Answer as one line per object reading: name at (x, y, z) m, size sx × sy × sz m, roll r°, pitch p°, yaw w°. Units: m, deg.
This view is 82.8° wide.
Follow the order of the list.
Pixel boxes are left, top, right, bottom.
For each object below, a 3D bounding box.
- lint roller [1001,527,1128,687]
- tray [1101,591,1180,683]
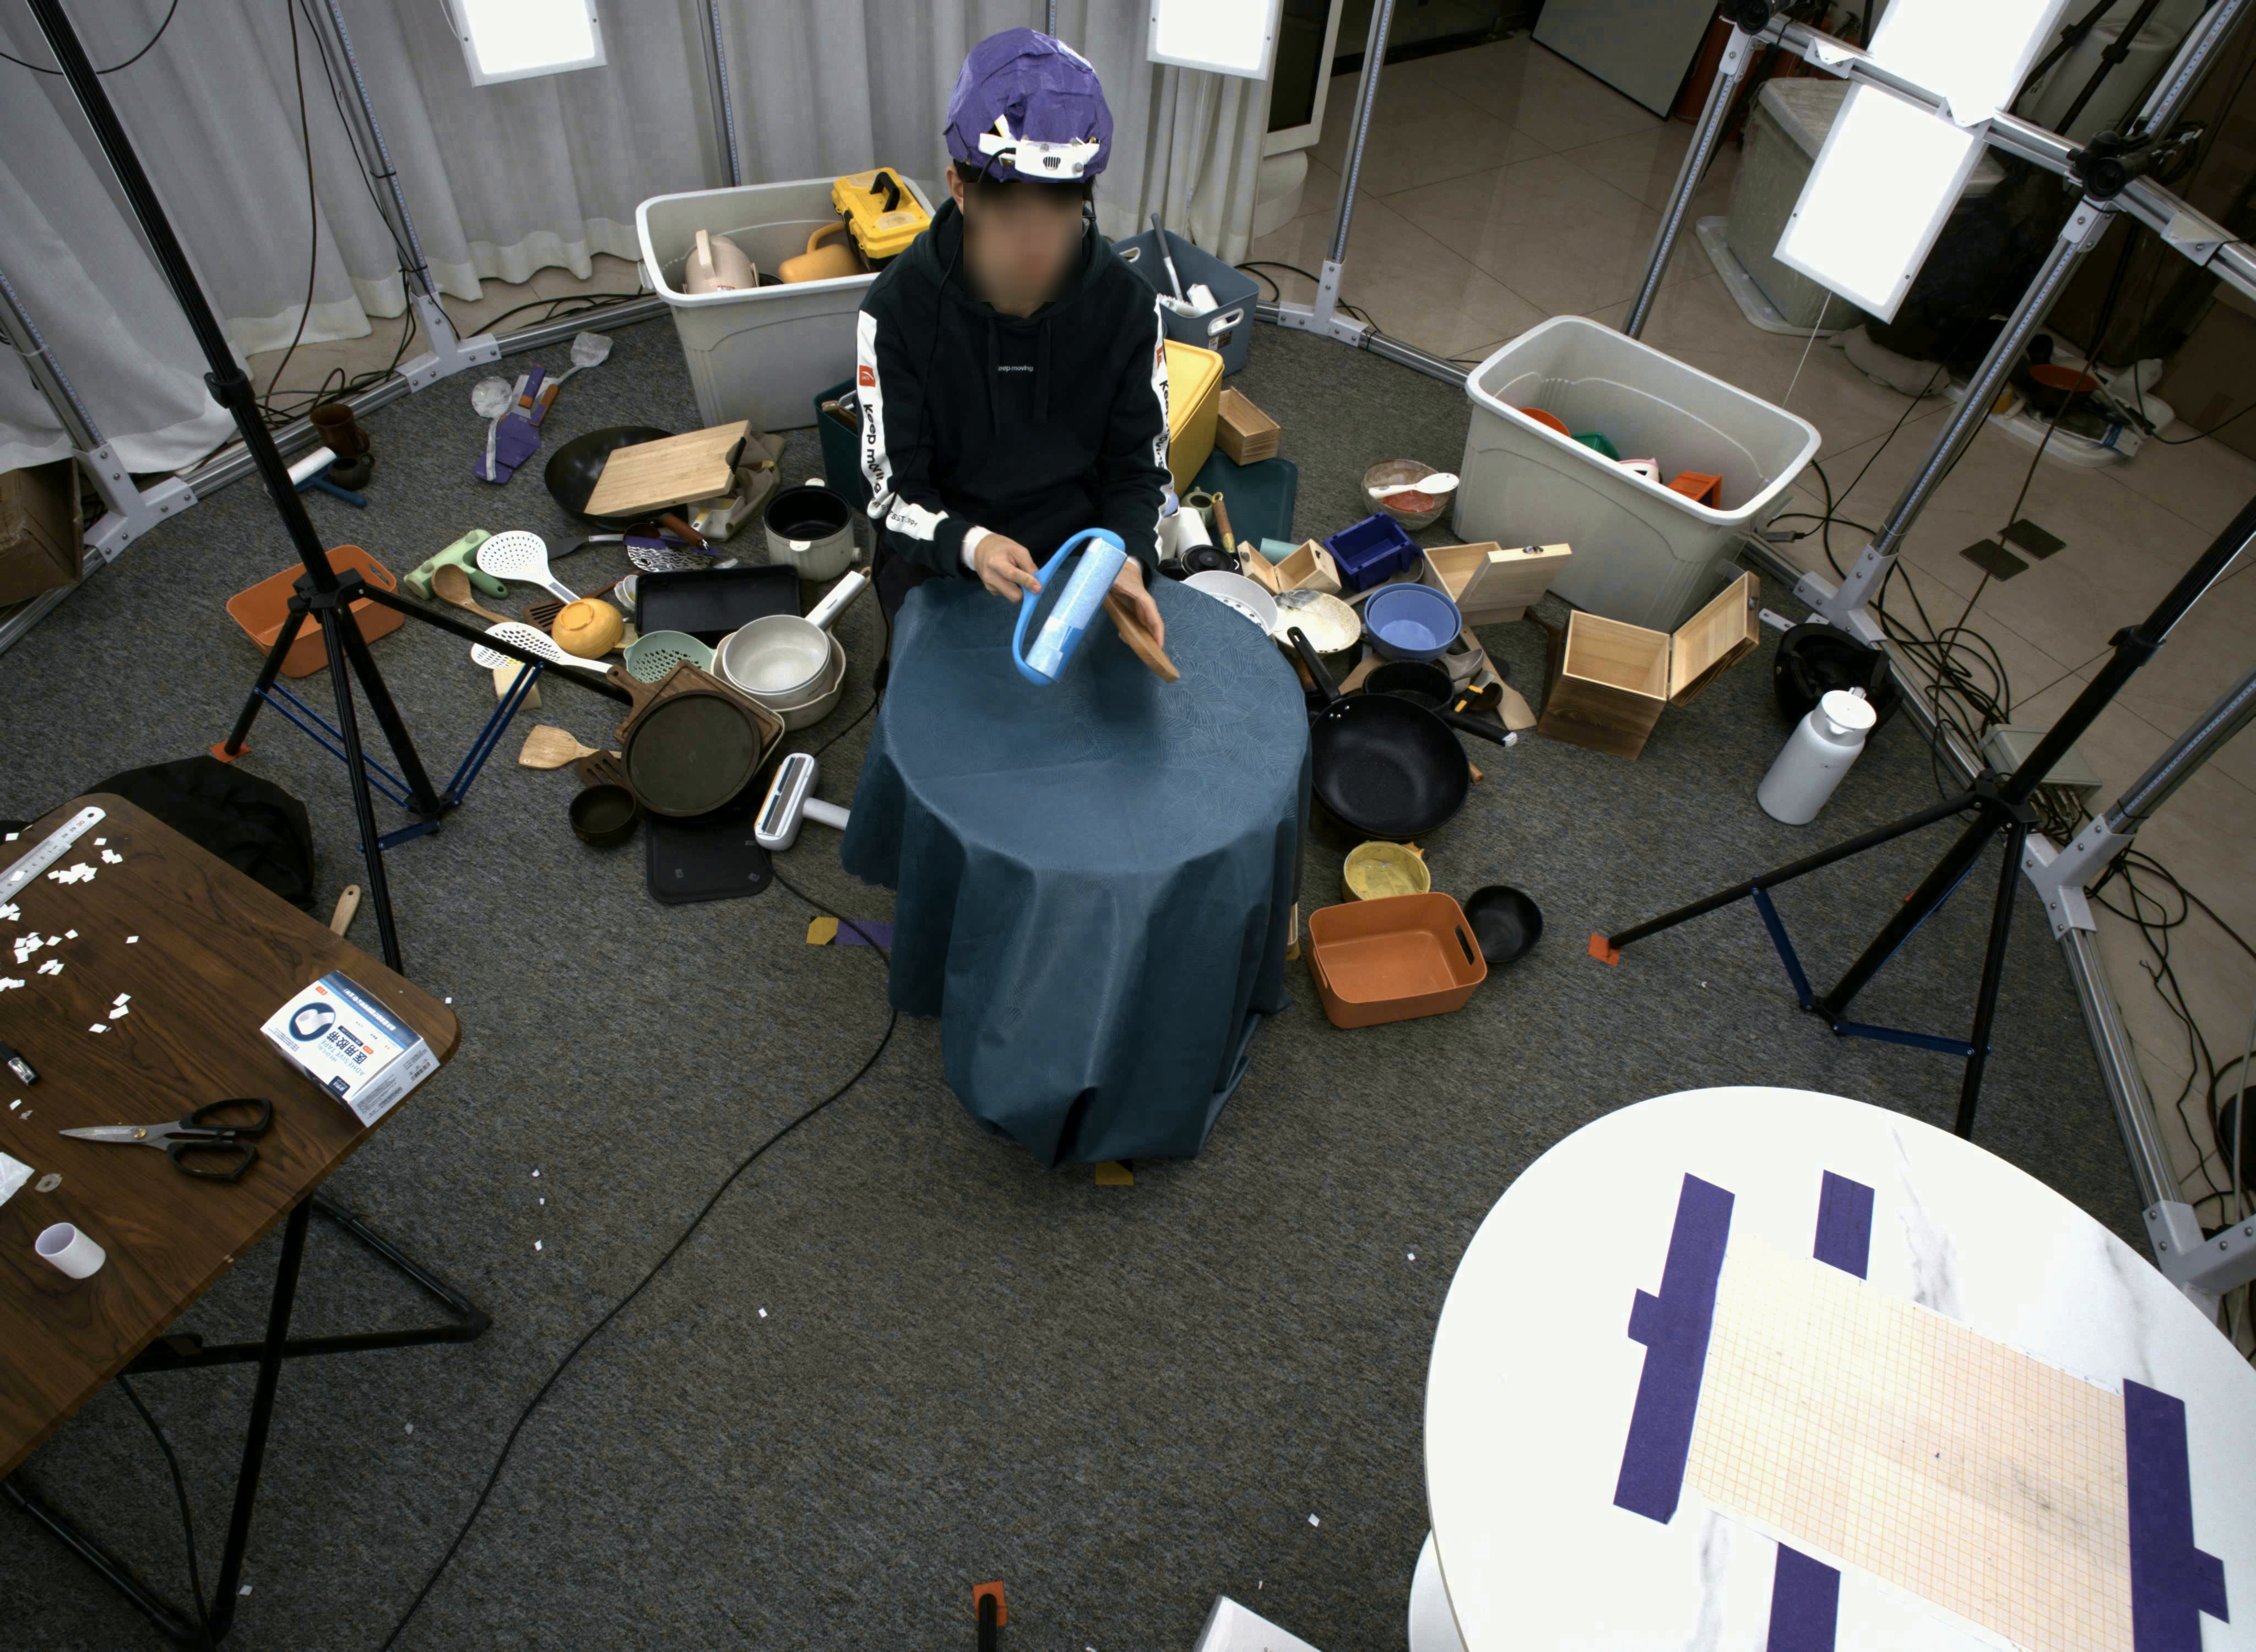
lint roller at (-0.116, -0.317, 1.751) m, size 0.182 × 0.067 × 0.228 m, roll 28°, pitch 94°, yaw 26°
tray at (0.010, -0.269, 1.790) m, size 0.020 × 0.100 × 0.236 m, roll -44°, pitch 37°, yaw 11°
